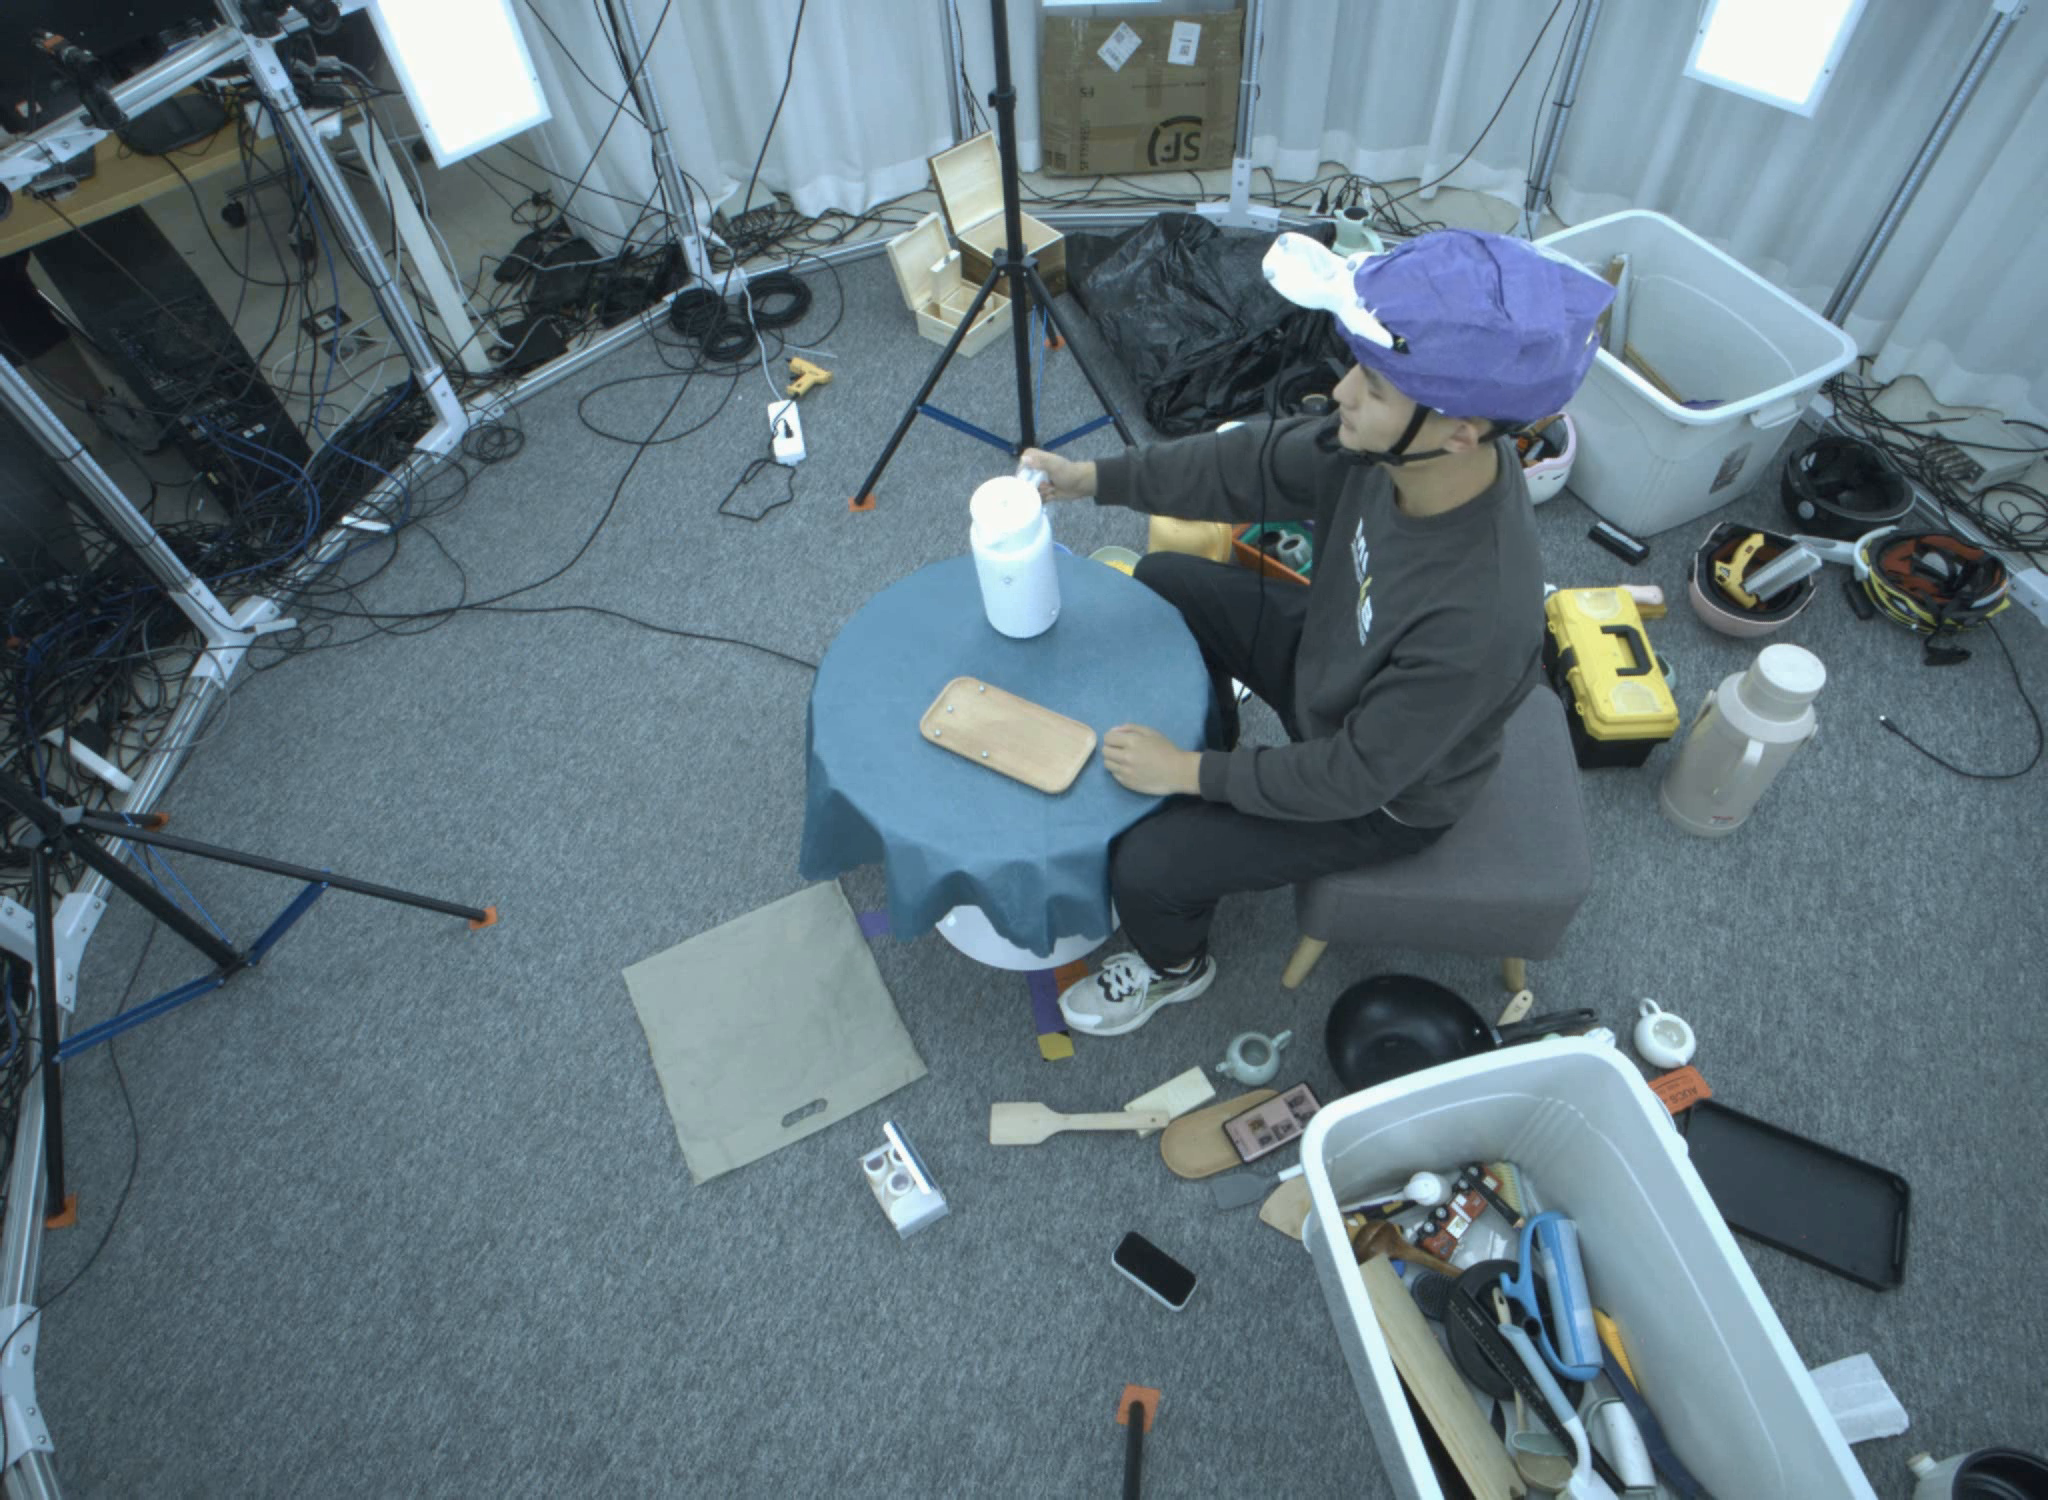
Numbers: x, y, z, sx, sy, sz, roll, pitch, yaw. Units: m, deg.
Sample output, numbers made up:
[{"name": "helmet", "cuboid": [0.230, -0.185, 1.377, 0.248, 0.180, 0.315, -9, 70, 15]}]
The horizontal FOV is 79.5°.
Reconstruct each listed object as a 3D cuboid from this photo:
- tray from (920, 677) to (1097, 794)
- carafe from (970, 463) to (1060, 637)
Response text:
[{"name": "tray", "cuboid": [-0.023, -0.023, 1.792, 0.247, 0.023, 0.131, 25, 61, 17]}, {"name": "carafe", "cuboid": [-0.007, -0.297, 1.820, 0.122, 0.272, 0.173, 21, 67, 18]}]
